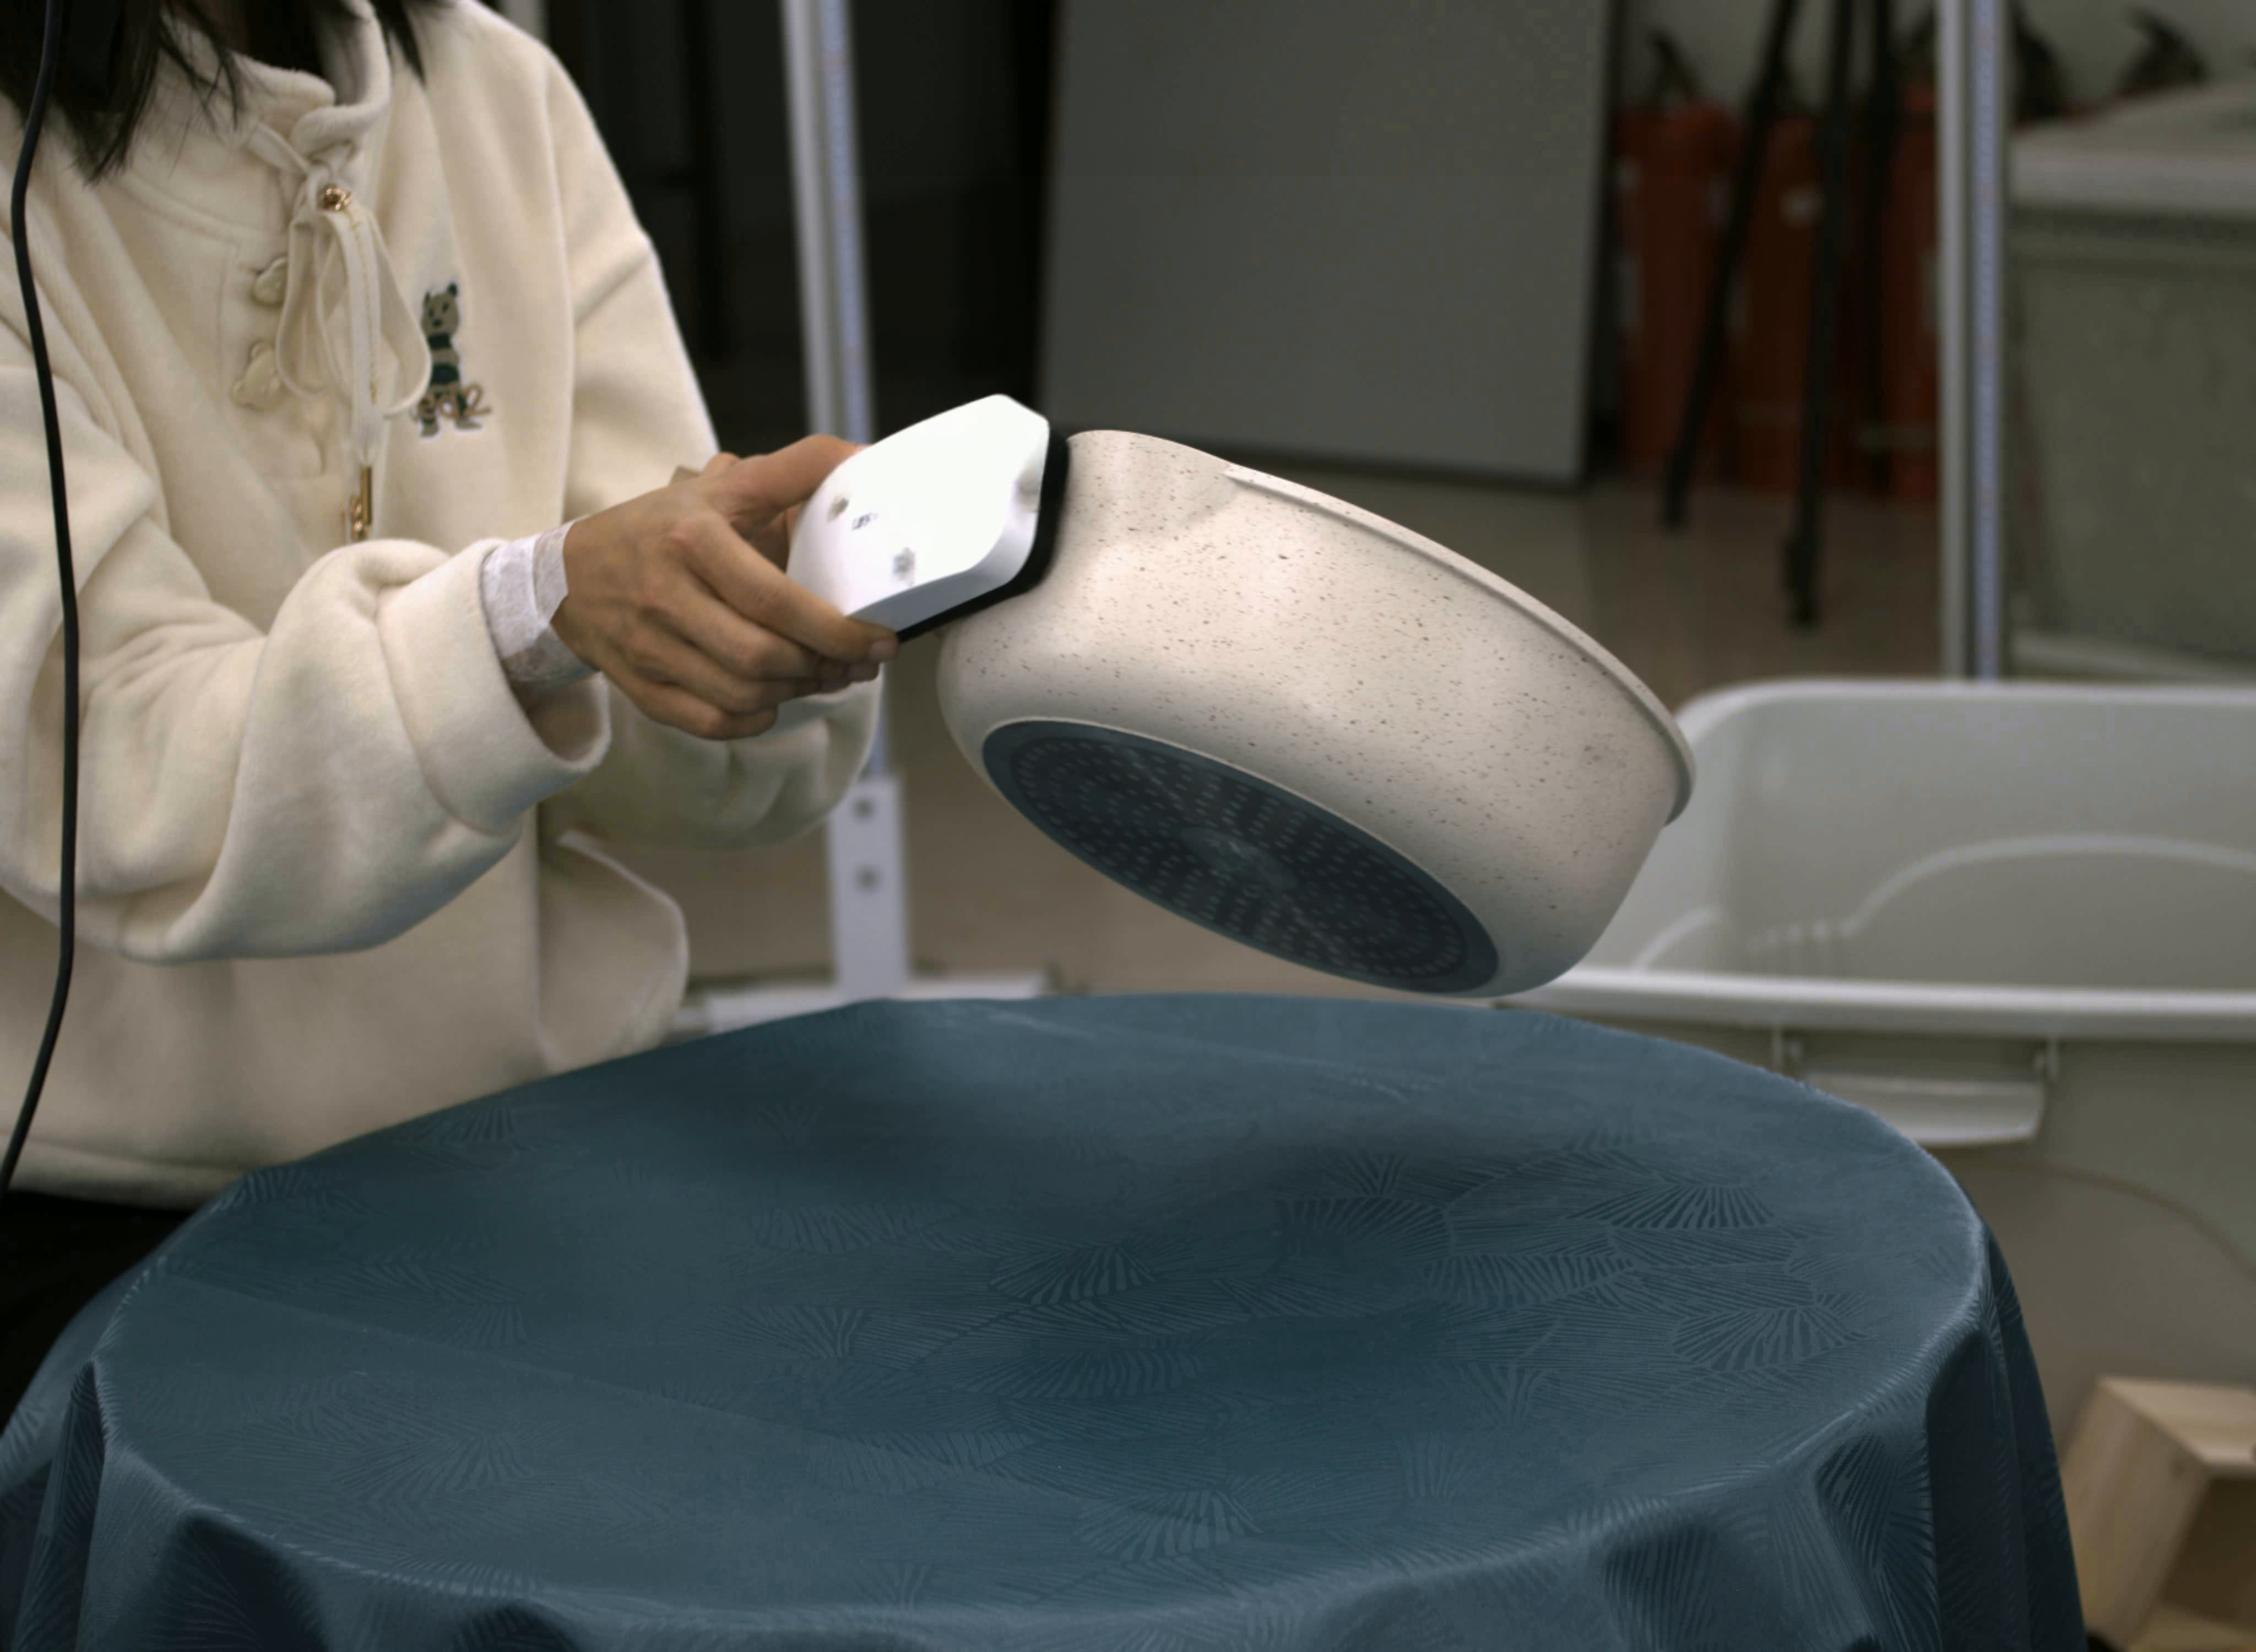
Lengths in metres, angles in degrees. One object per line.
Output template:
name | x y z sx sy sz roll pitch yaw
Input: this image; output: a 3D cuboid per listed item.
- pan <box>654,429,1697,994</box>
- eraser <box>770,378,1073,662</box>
pan | -0.015 -0.047 1.789 0.438 0.102 0.259 12 -20 40
eraser | -0.068 -0.096 1.695 0.034 0.064 0.132 24 -26 -29
